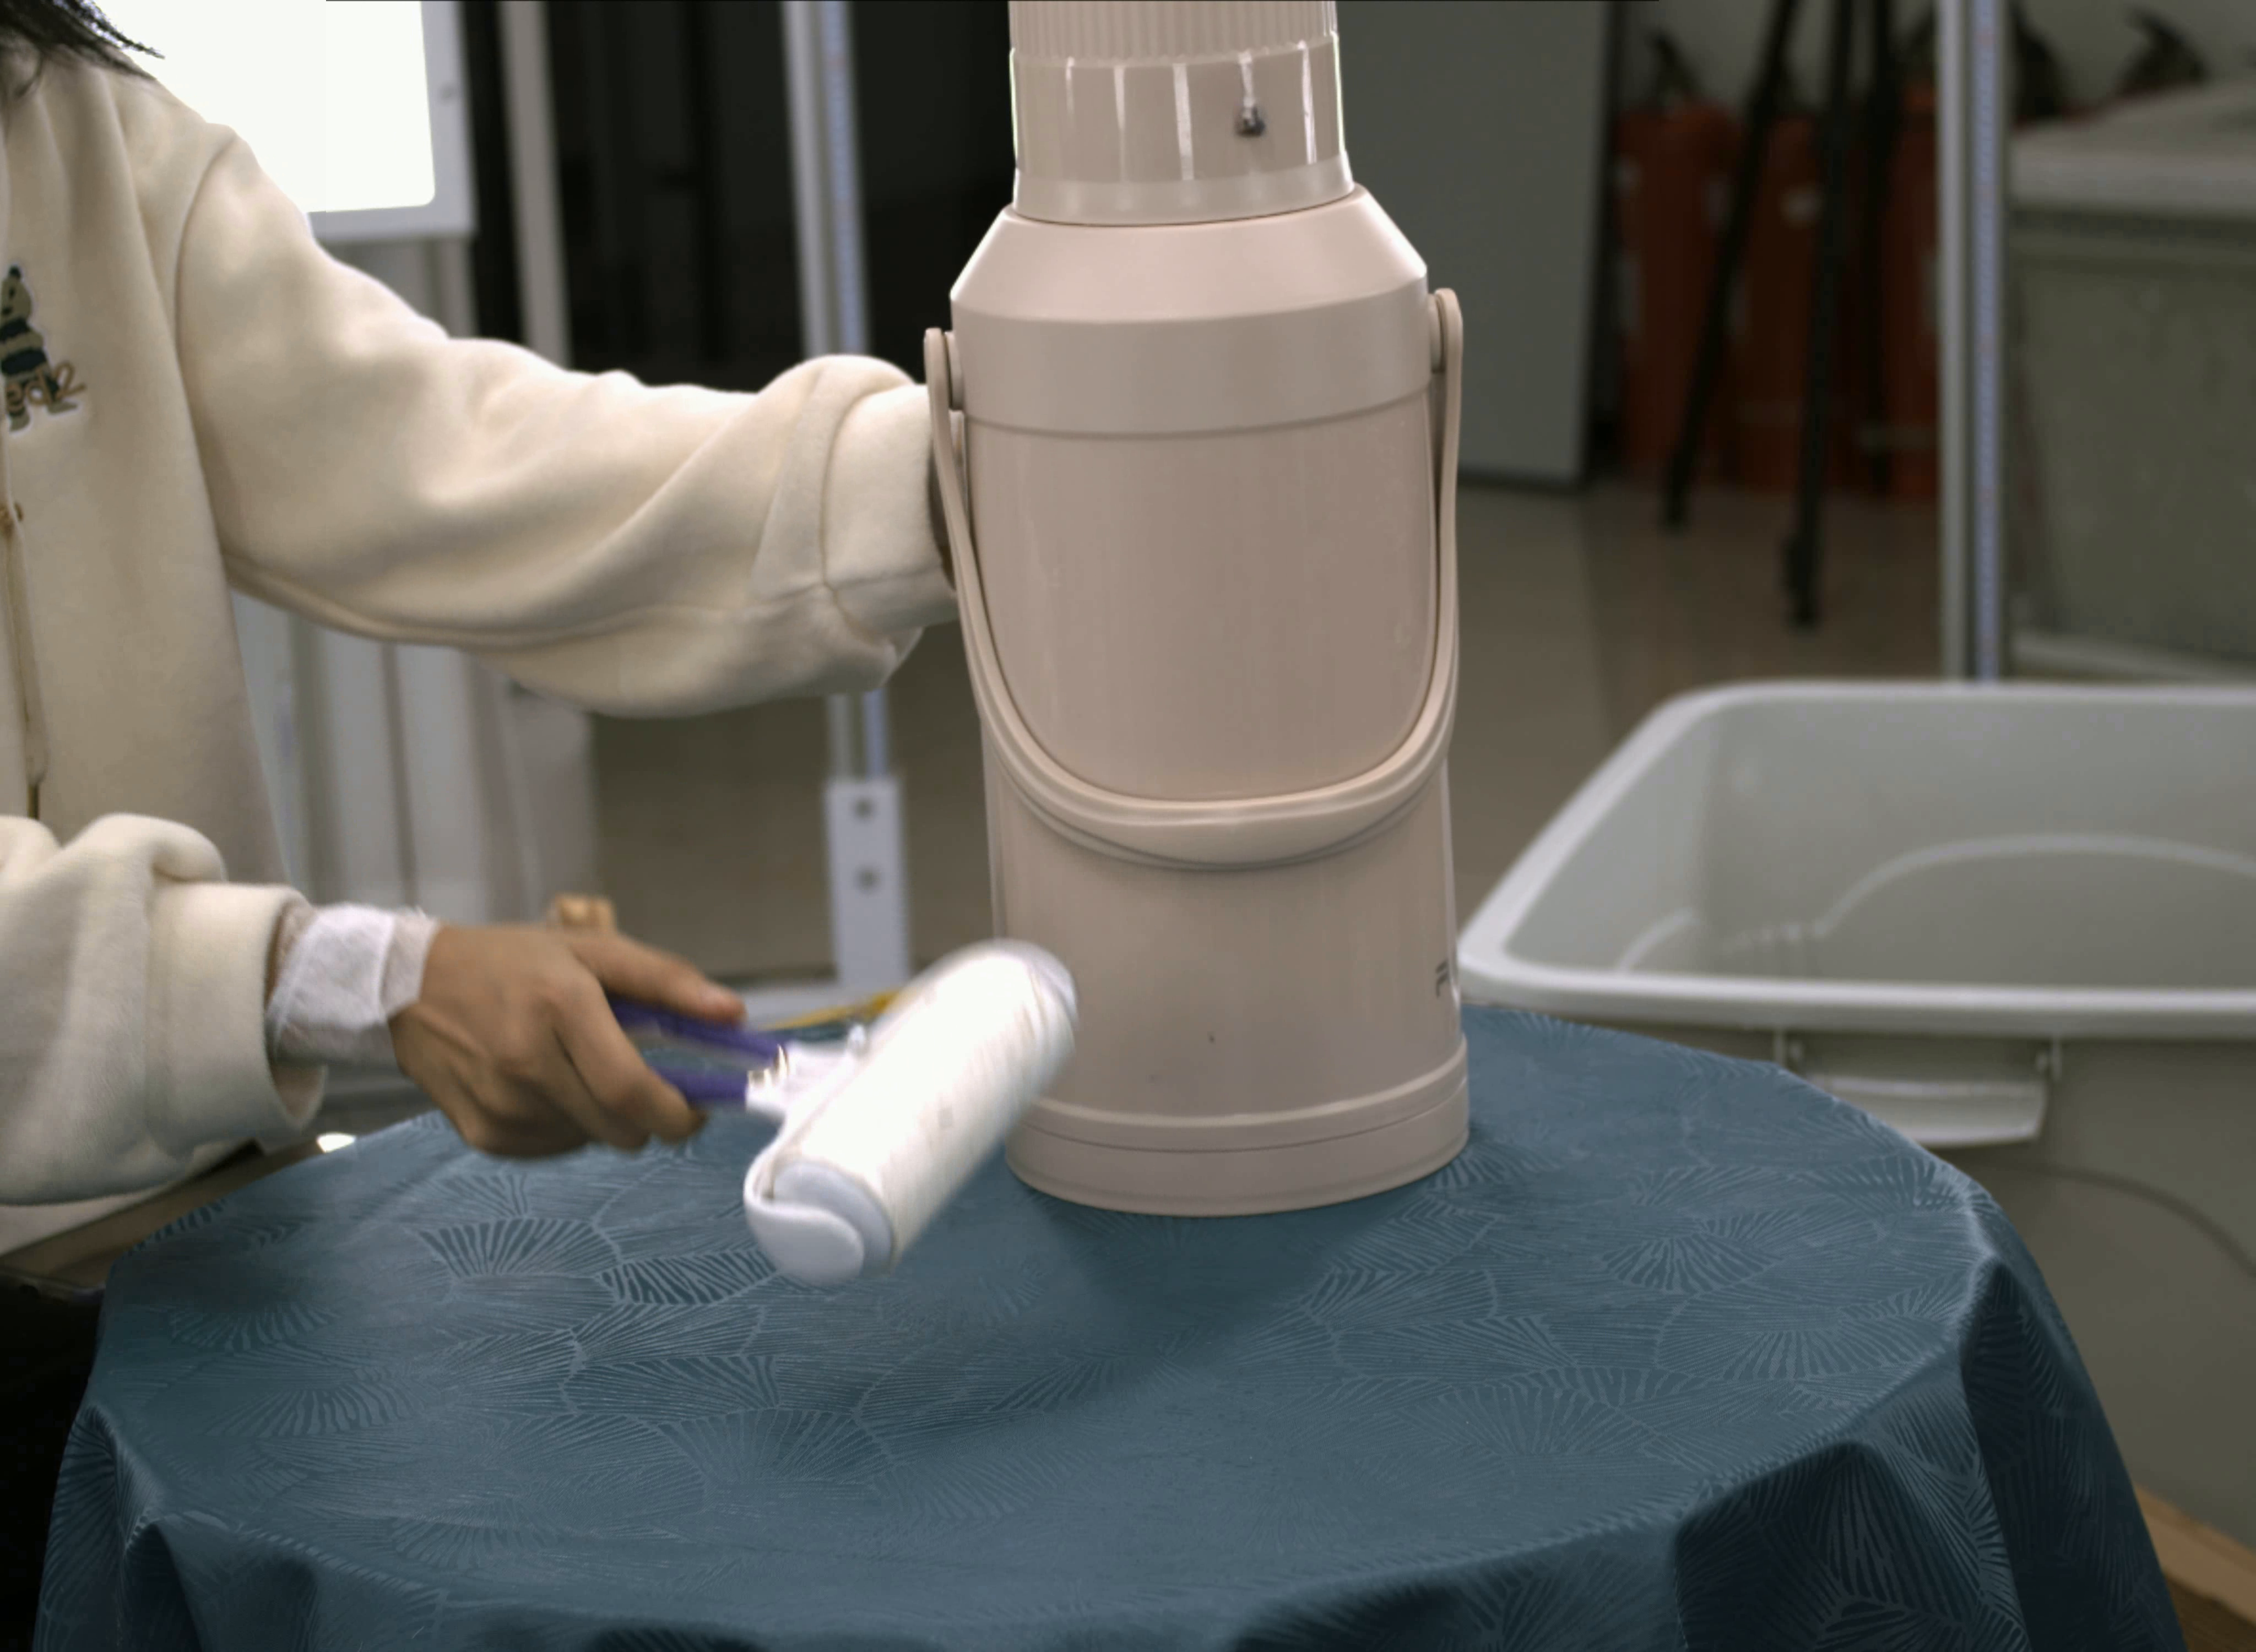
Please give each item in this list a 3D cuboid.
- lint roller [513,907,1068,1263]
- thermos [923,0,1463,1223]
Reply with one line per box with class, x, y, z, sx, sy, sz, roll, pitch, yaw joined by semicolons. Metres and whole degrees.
lint roller;-0.116;0.061;1.646;0.182;0.050;0.132;17;50;29
thermos;0.024;-0.089;1.779;0.172;0.411;0.208;-5;13;-5
